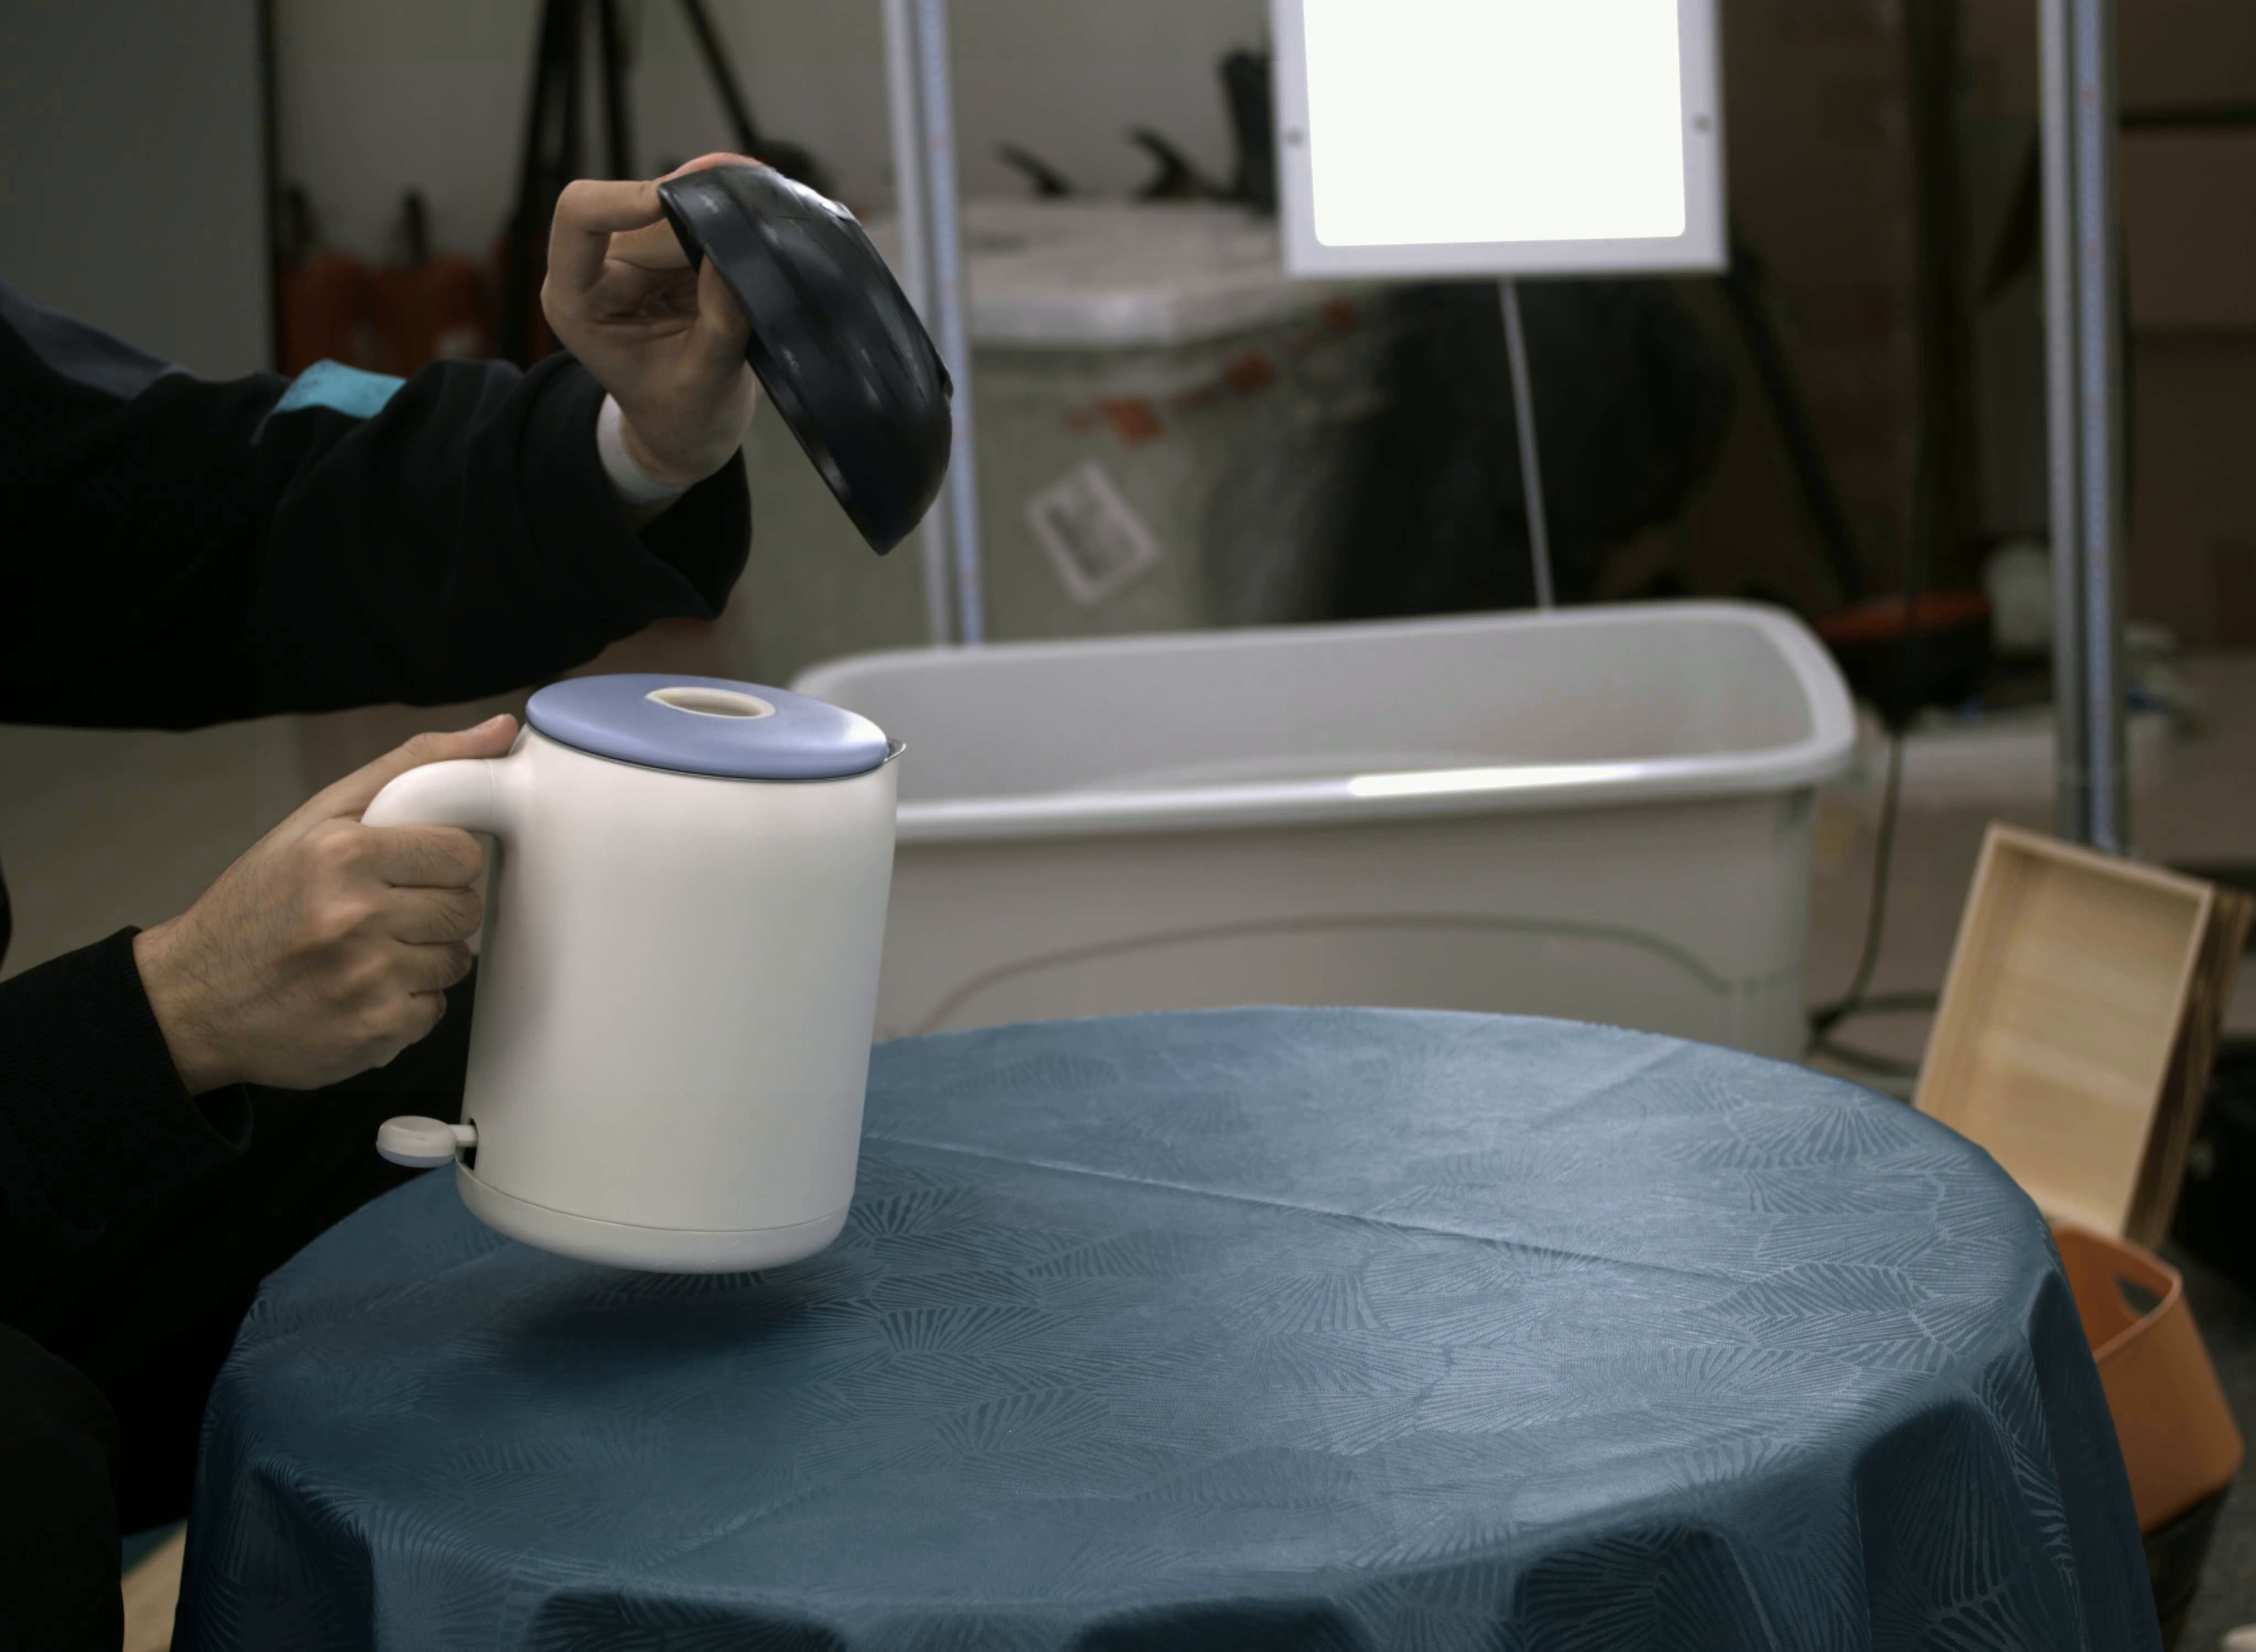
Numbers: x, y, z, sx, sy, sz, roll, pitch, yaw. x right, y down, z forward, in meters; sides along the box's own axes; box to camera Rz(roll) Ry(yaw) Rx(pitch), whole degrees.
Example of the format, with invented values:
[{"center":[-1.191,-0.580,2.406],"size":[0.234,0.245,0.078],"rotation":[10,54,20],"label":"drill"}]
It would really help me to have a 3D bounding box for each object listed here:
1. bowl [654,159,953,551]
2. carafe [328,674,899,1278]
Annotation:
[{"center":[-0.095,-0.159,1.760],"size":[0.049,0.139,0.141],"rotation":[-32,16,-2],"label":"bowl"},{"center":[-0.167,0.048,1.786],"size":[0.187,0.183,0.134],"rotation":[-2,14,-24],"label":"carafe"}]
